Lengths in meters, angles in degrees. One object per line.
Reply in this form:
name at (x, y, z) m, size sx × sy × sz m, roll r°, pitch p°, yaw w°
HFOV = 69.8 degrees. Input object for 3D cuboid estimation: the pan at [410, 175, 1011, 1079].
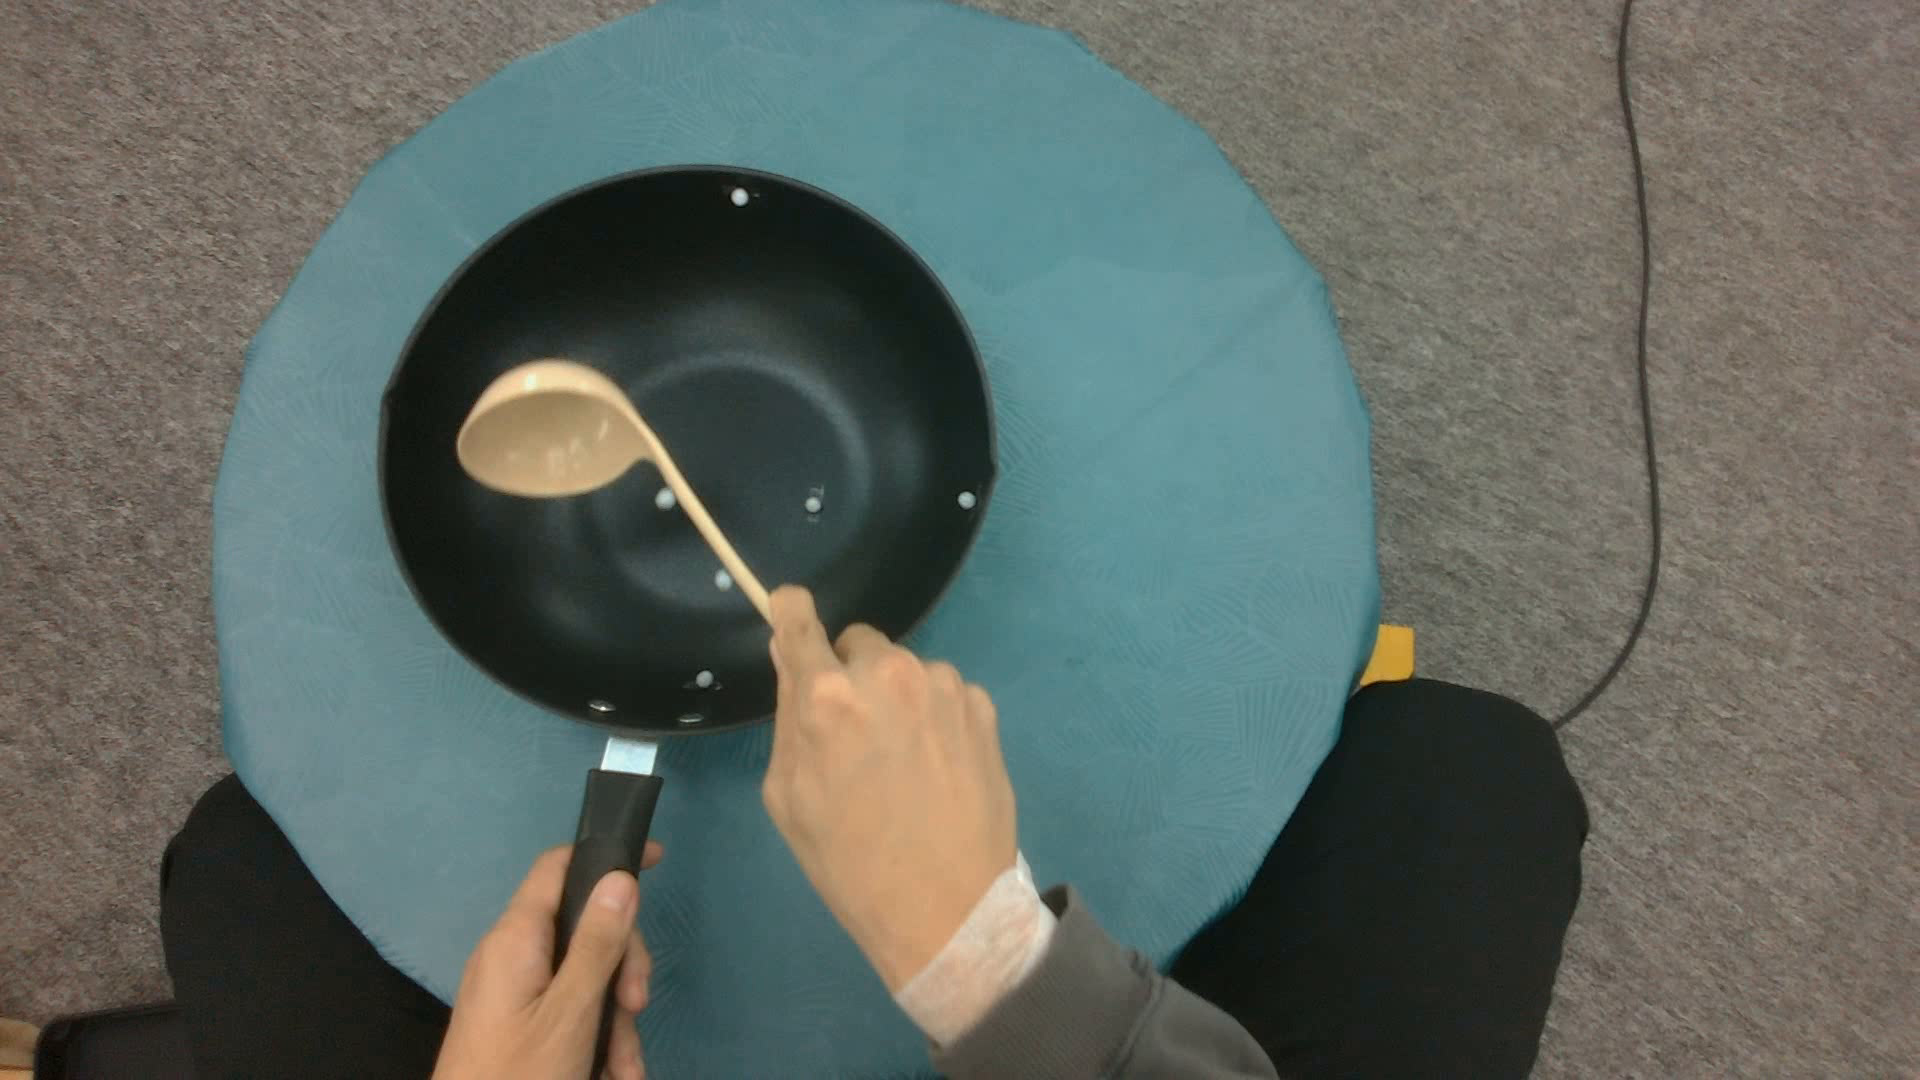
pan at (-0.131, 0.051, 0.665) m, size 0.288 × 0.086 × 0.464 m, roll 8°, pitch 76°, yaw 2°

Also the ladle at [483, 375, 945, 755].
ladle at (-0.112, 0.019, 0.570) m, size 0.073 × 0.072 × 0.255 m, roll -29°, pitch 55°, yaw -26°
